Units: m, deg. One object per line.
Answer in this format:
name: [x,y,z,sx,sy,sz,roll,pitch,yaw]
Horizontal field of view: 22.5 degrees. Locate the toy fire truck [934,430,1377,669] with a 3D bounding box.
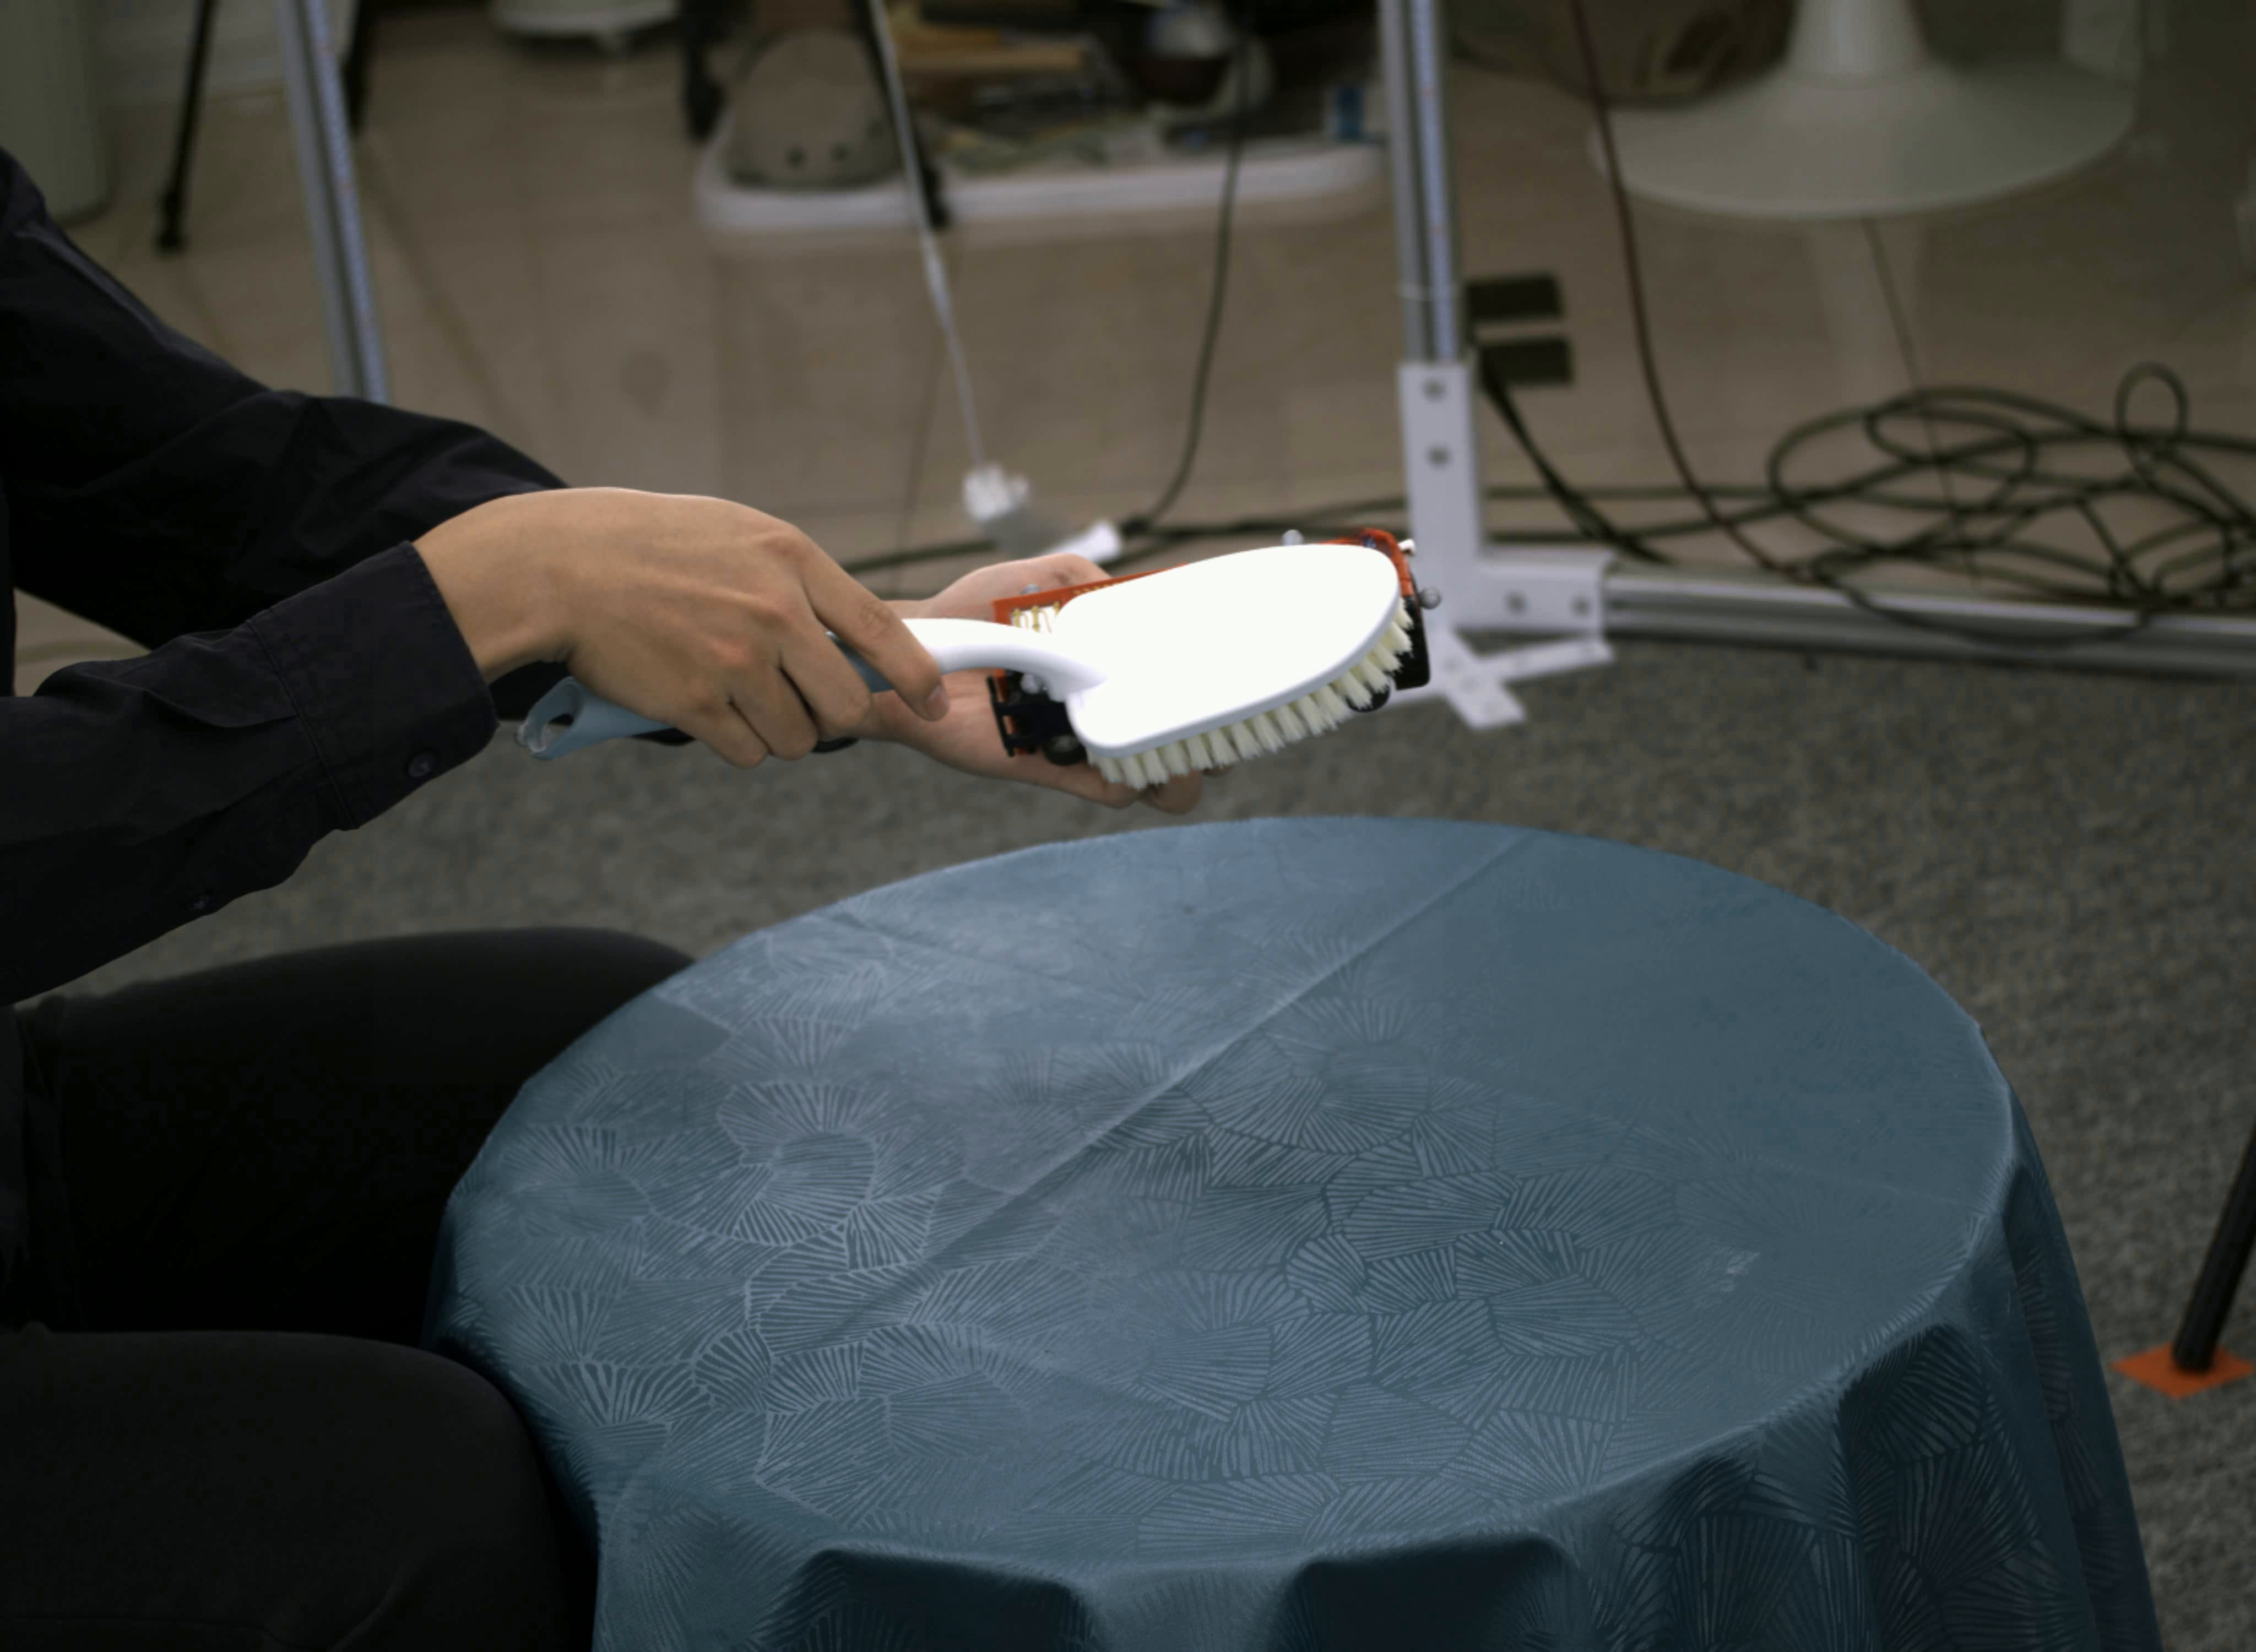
toy fire truck: [0.011,-0.106,2.129,0.168,0.055,0.069,-11,48,4]

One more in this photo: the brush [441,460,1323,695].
brush: [-0.088,-0.082,2.065,0.325,0.086,0.082,-10,27,-7]
